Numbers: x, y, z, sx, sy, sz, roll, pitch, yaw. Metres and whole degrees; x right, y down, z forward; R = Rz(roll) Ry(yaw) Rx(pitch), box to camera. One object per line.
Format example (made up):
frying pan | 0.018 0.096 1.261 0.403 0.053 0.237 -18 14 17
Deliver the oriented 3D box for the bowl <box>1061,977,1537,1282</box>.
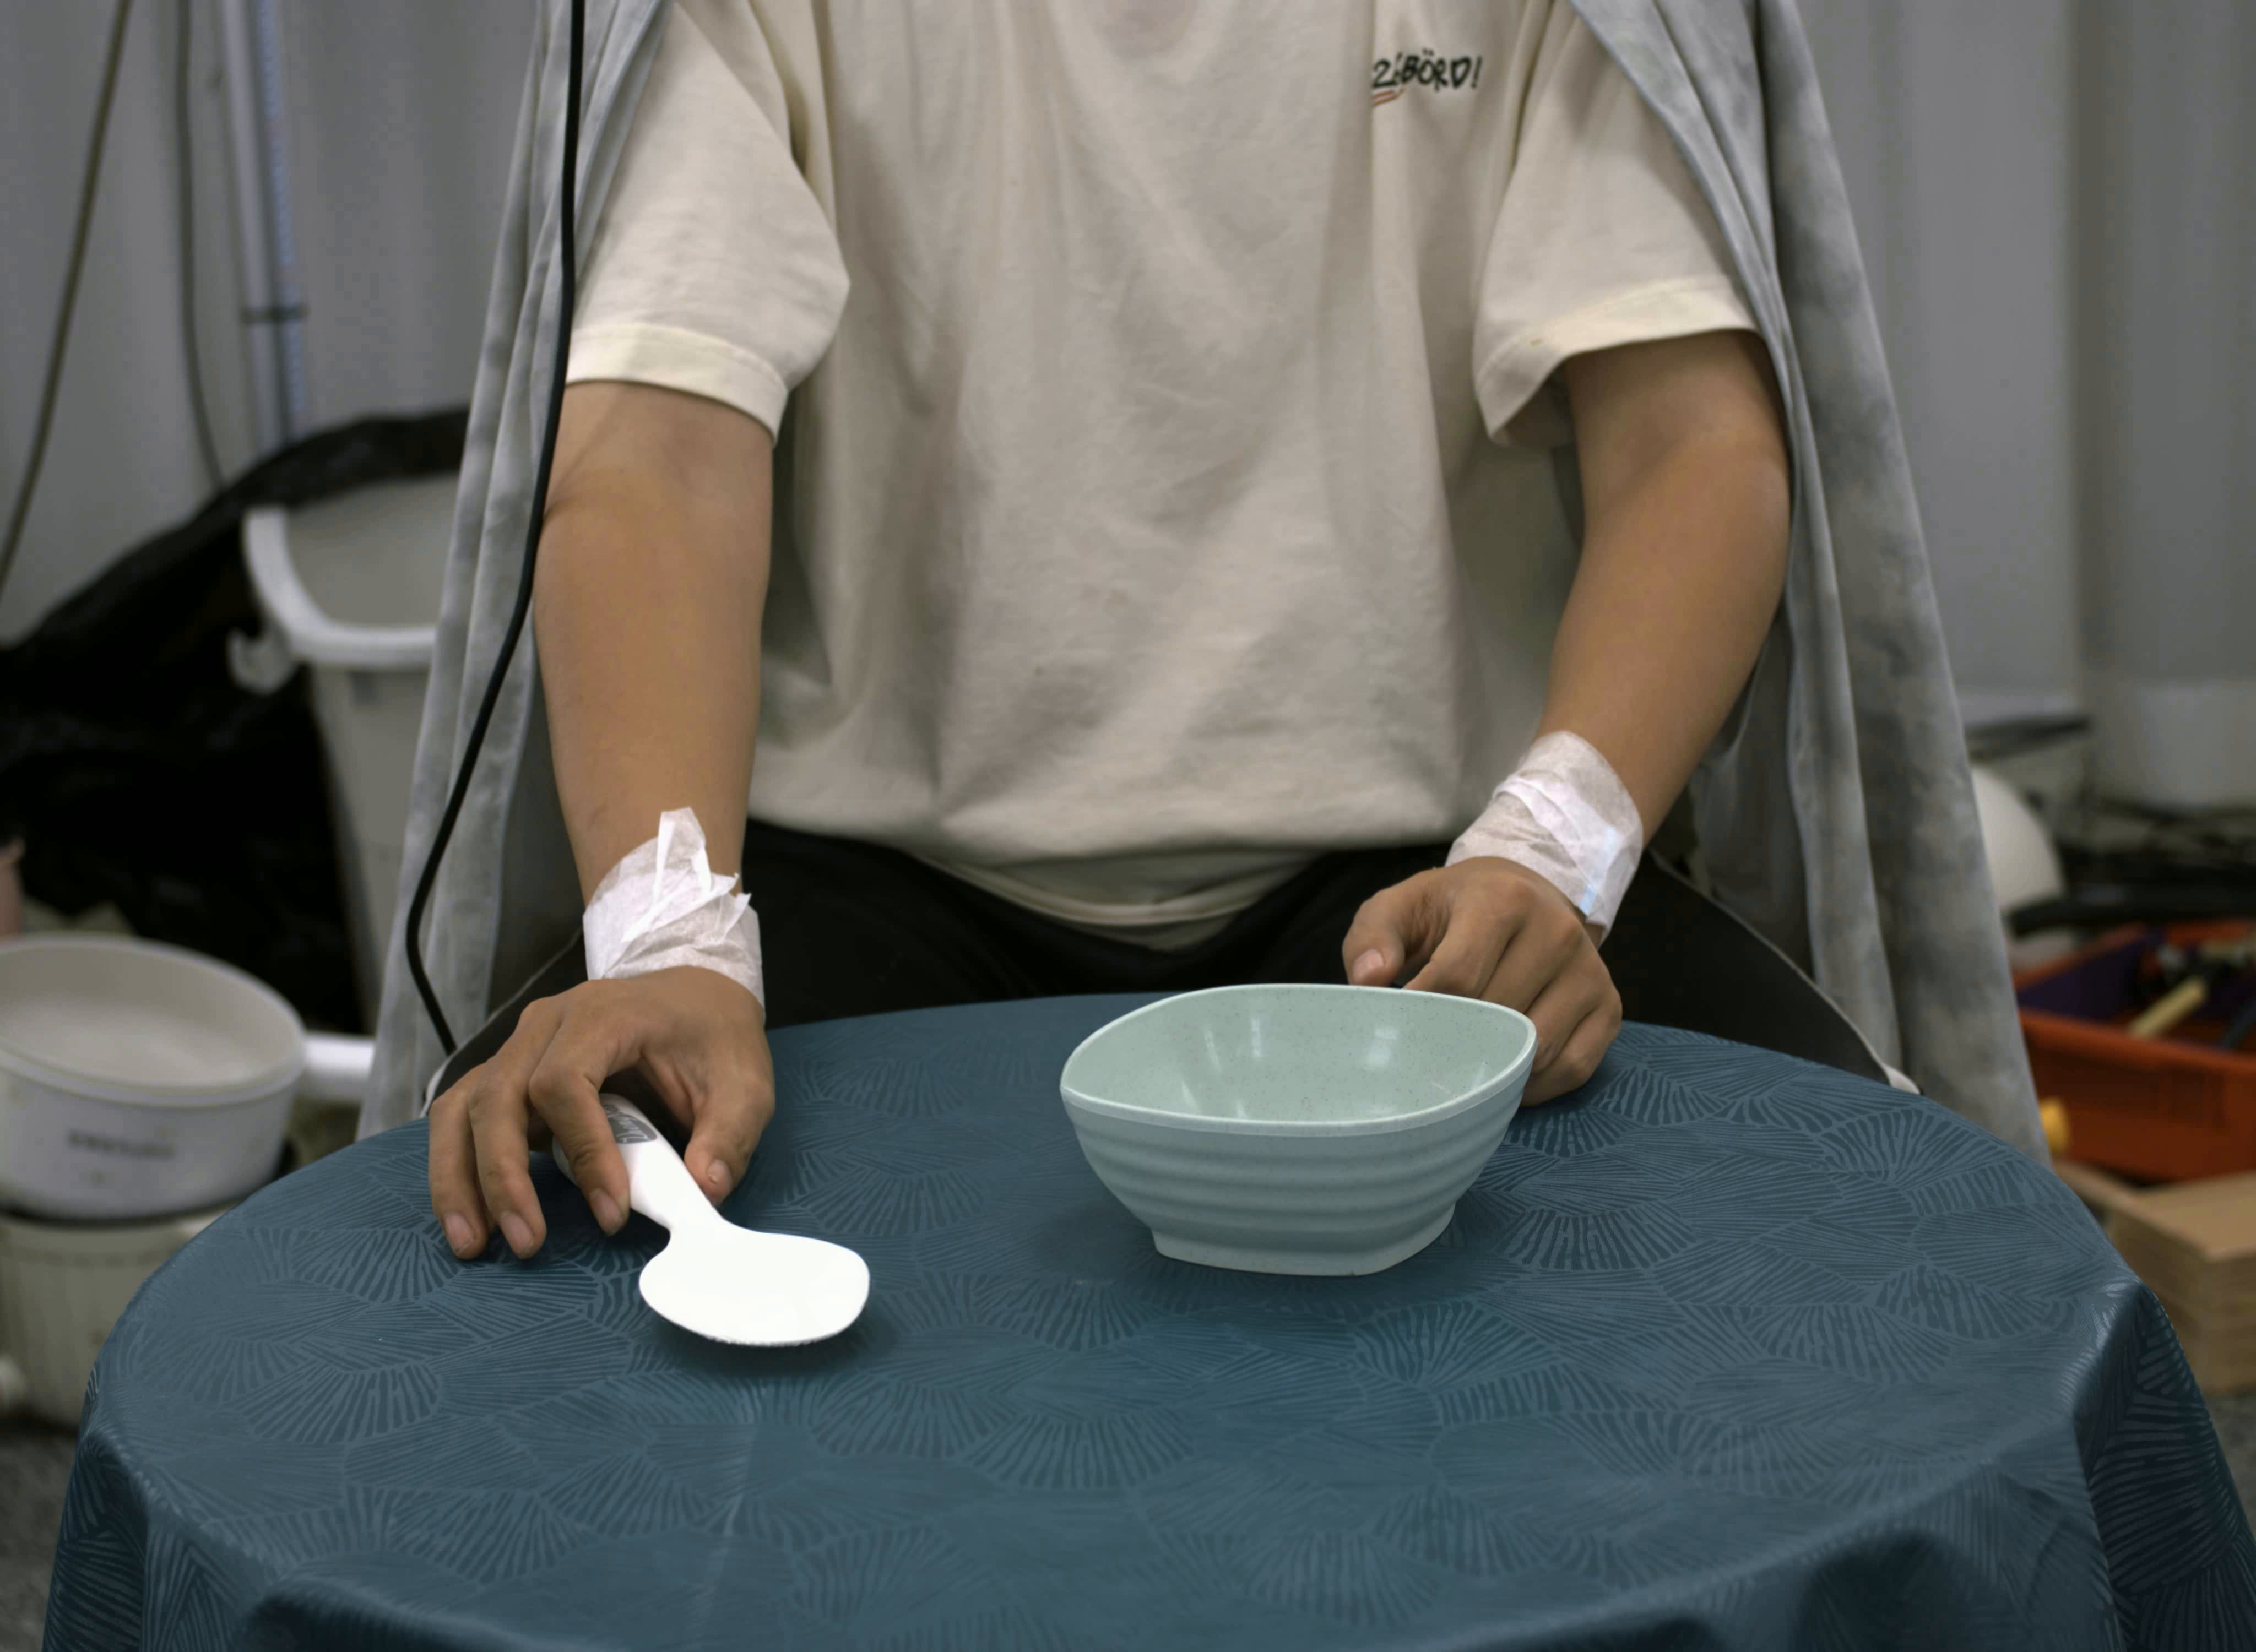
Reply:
bowl | 0.054 0.096 1.669 0.151 0.058 0.152 -4 17 1

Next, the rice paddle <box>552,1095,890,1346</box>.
rice paddle | -0.129 0.122 1.660 0.068 0.029 0.207 -11 16 -21
